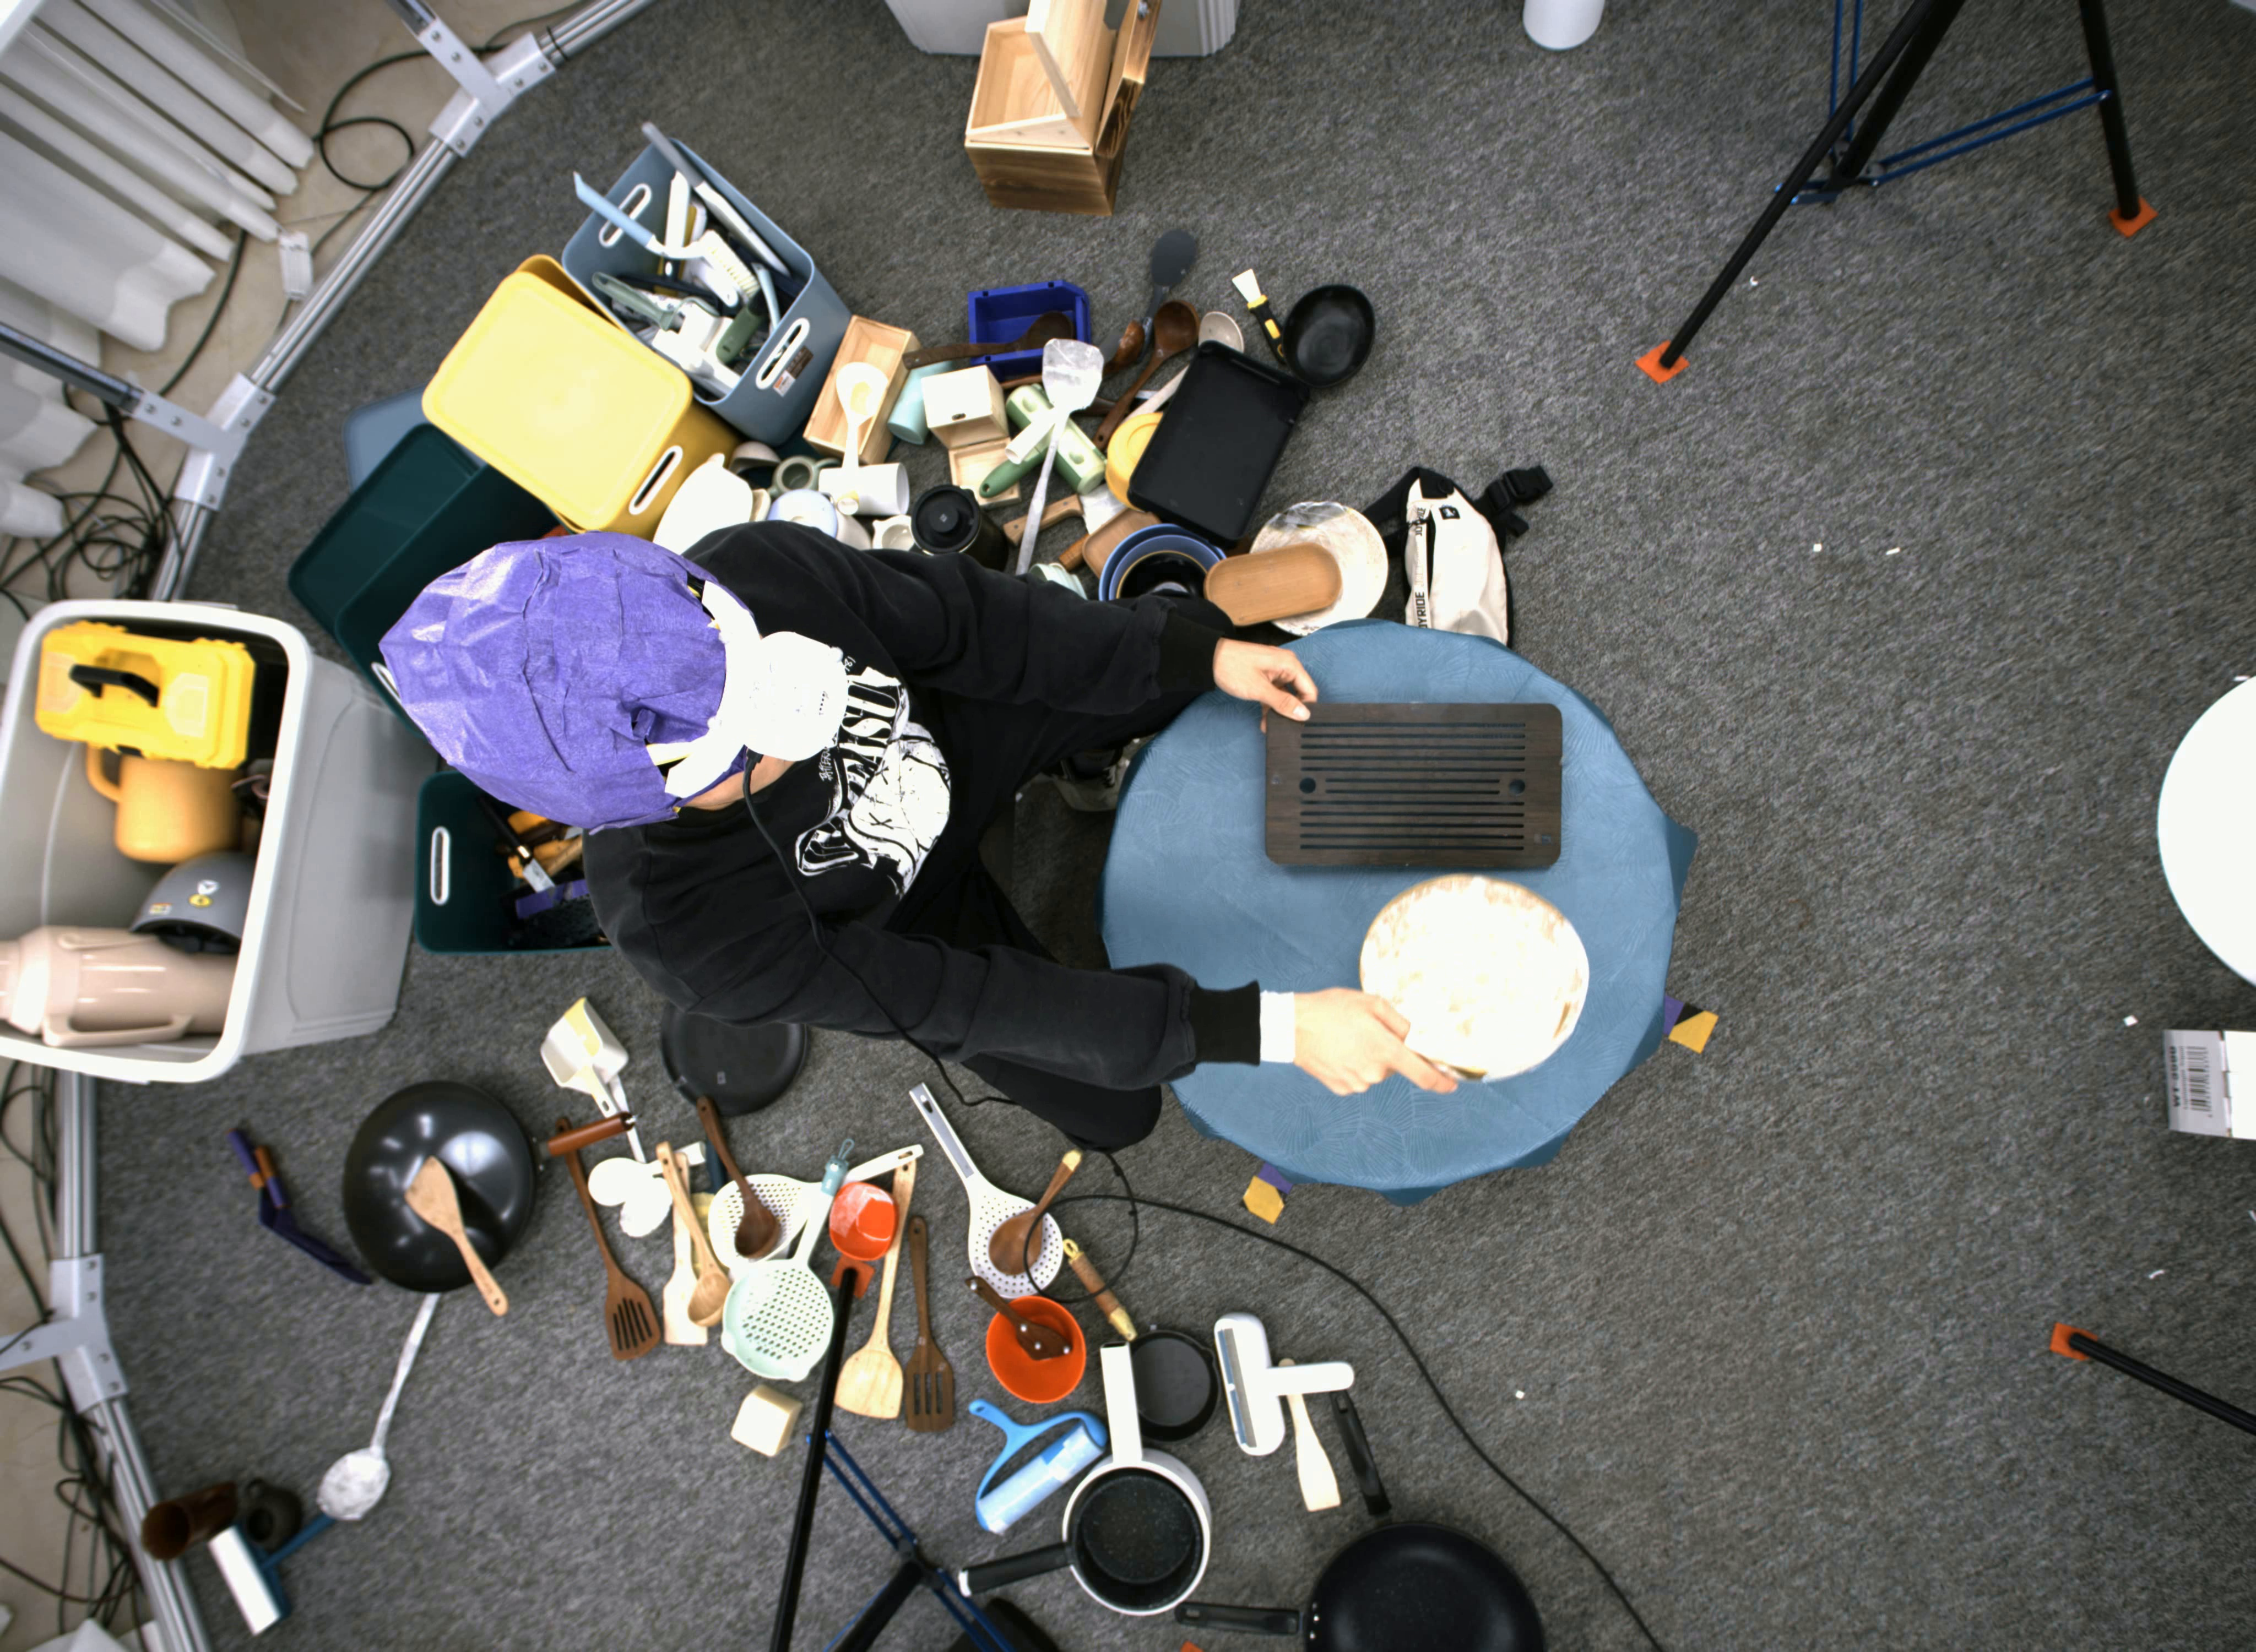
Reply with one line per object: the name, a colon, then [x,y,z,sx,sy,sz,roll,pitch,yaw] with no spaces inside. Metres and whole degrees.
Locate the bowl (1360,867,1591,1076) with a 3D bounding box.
bowl: [0.317,0.144,1.276,0.215,0.096,0.209,-6,56,9]

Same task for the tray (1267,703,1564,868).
tray: [0.298,-0.044,1.436,0.307,0.018,0.170,0,93,5]
